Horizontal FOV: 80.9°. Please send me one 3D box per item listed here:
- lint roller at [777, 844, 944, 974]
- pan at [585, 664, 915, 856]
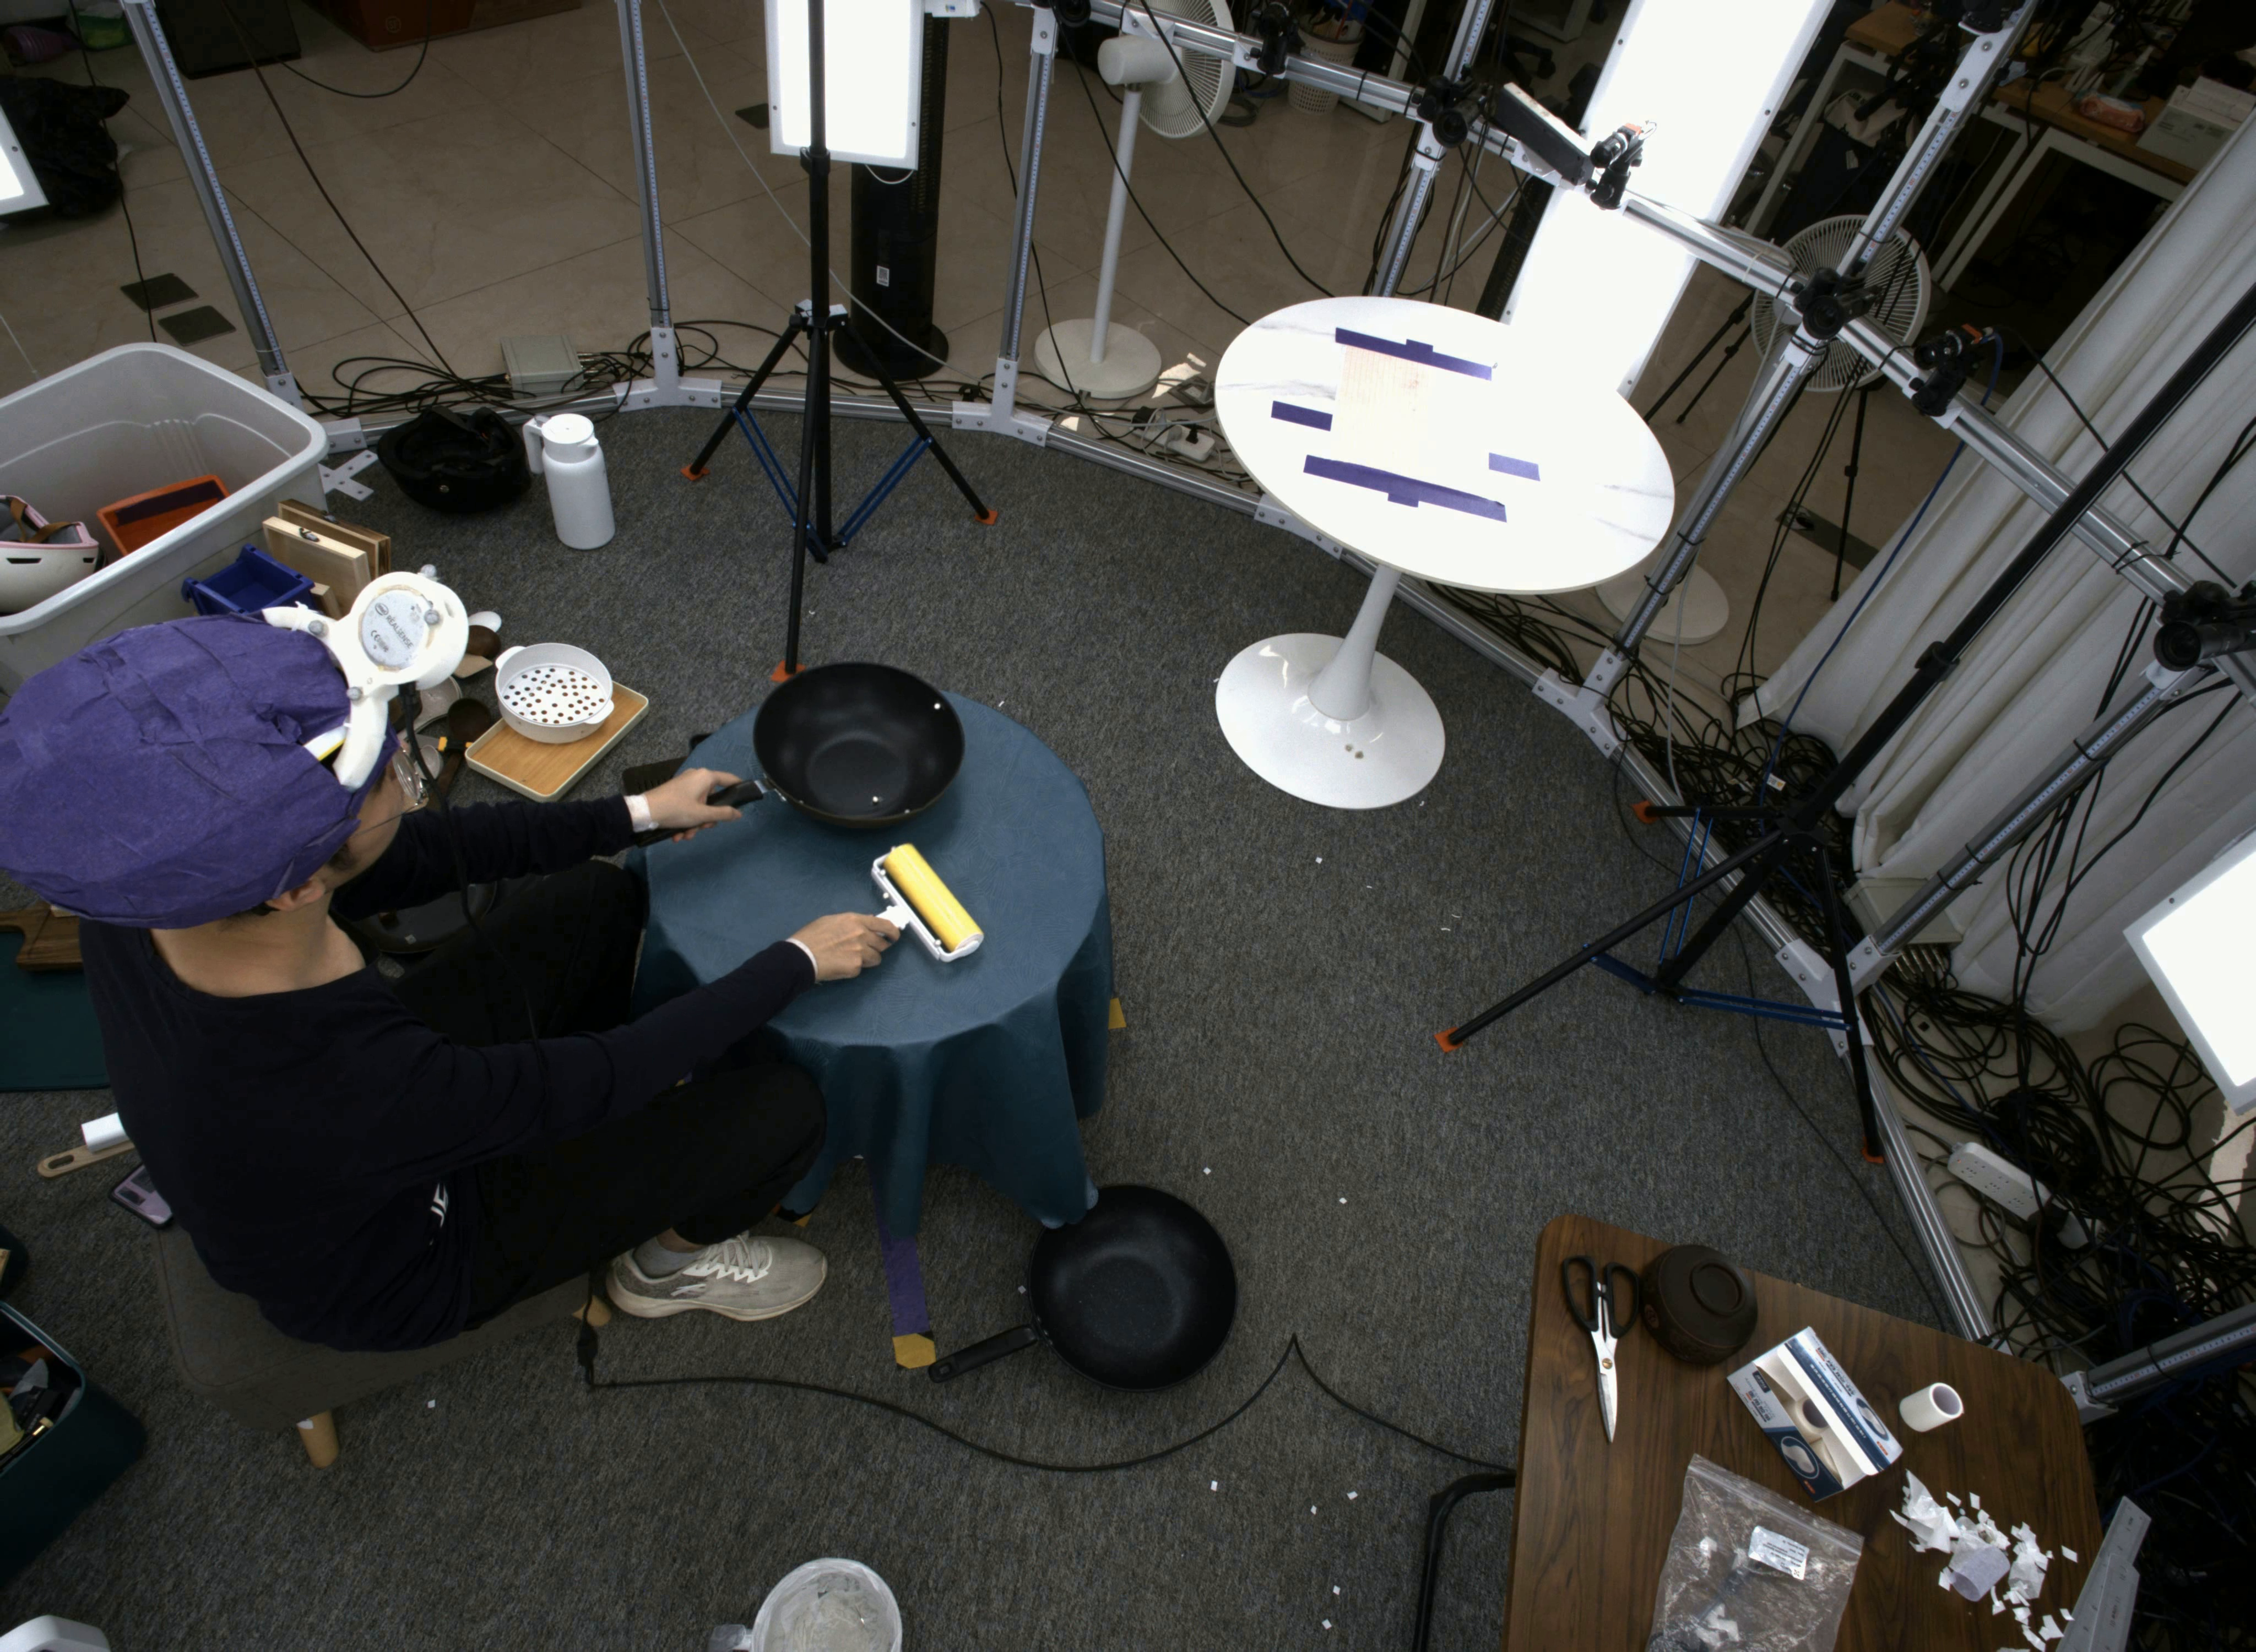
[{"bbox_3d":[-0.351,0.121,1.615,0.171,0.052,0.193,46,48,17],"label":"lint roller"},{"bbox_3d":[-0.494,-0.050,1.695,0.465,0.088,0.281,-33,66,-33],"label":"pan"}]
